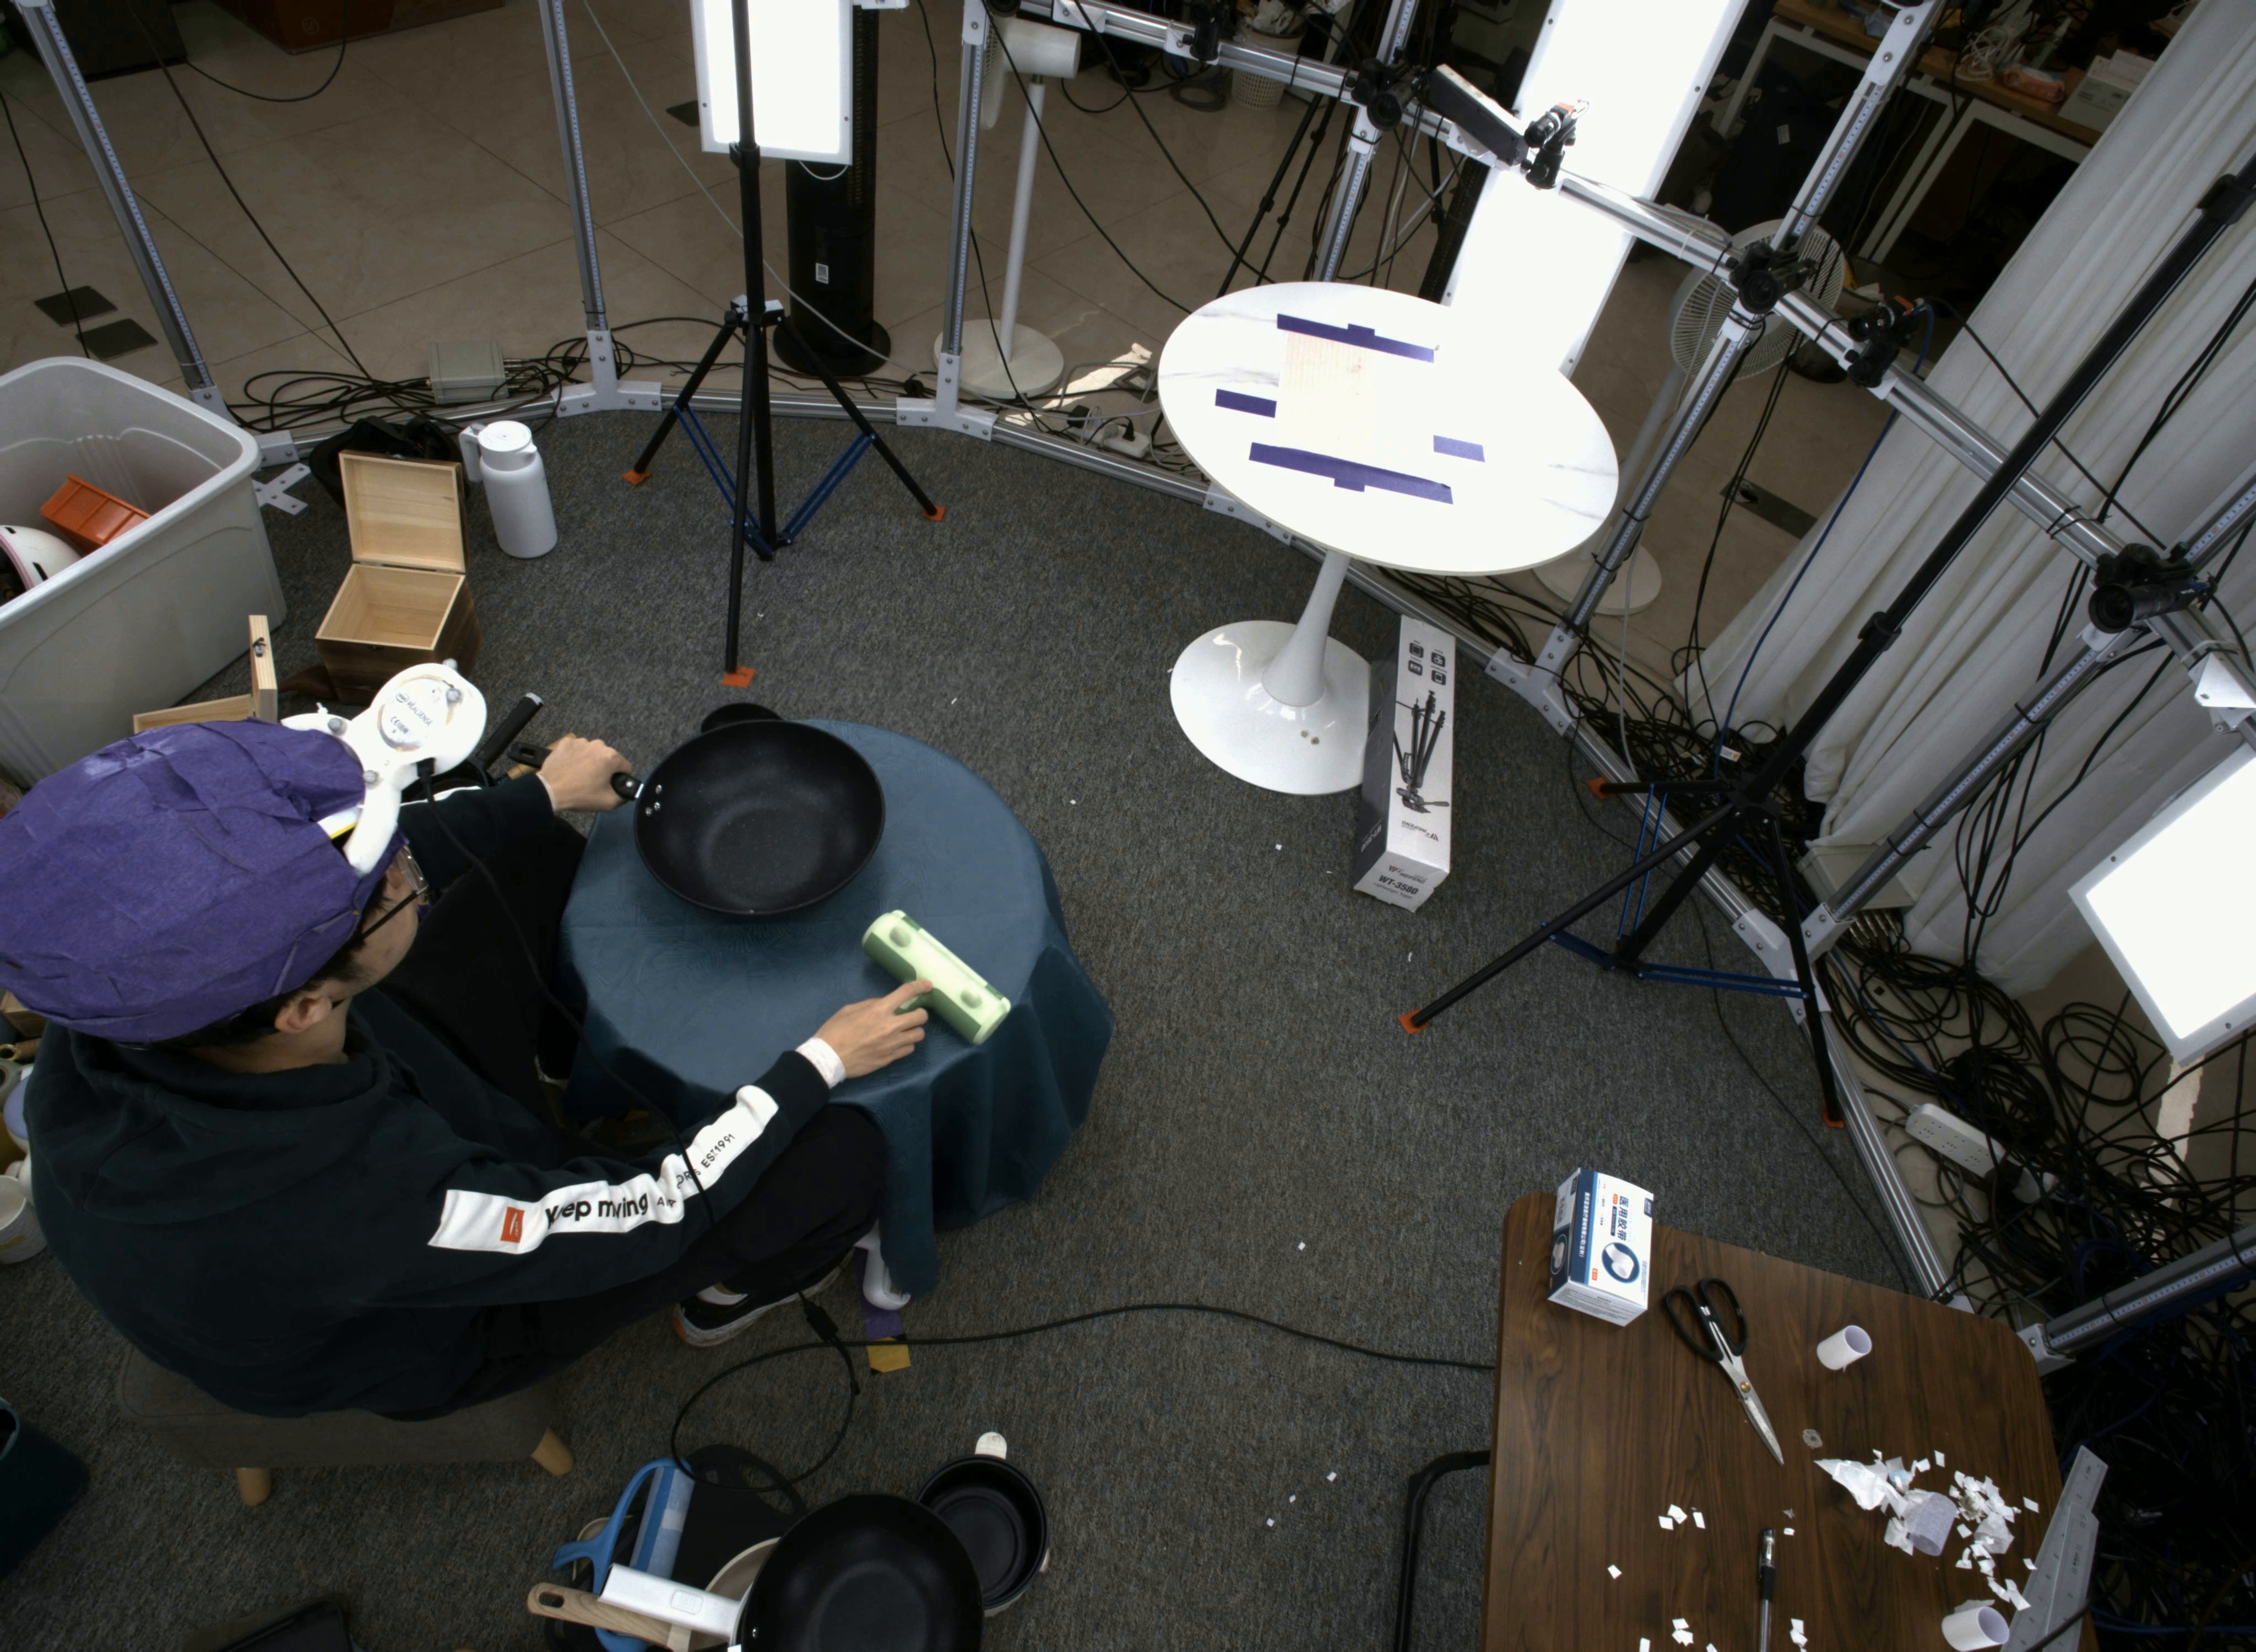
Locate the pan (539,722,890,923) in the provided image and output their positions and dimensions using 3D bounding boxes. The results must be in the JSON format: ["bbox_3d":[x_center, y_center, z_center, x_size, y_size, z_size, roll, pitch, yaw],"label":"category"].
[{"bbox_3d":[-0.540,-0.016,1.642,0.474,0.114,0.305,12,51,-4],"label":"pan"}]

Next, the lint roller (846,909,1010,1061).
[{"bbox_3d":[-0.265,0.203,1.552,0.196,0.083,0.183,39,46,8],"label":"lint roller"}]
